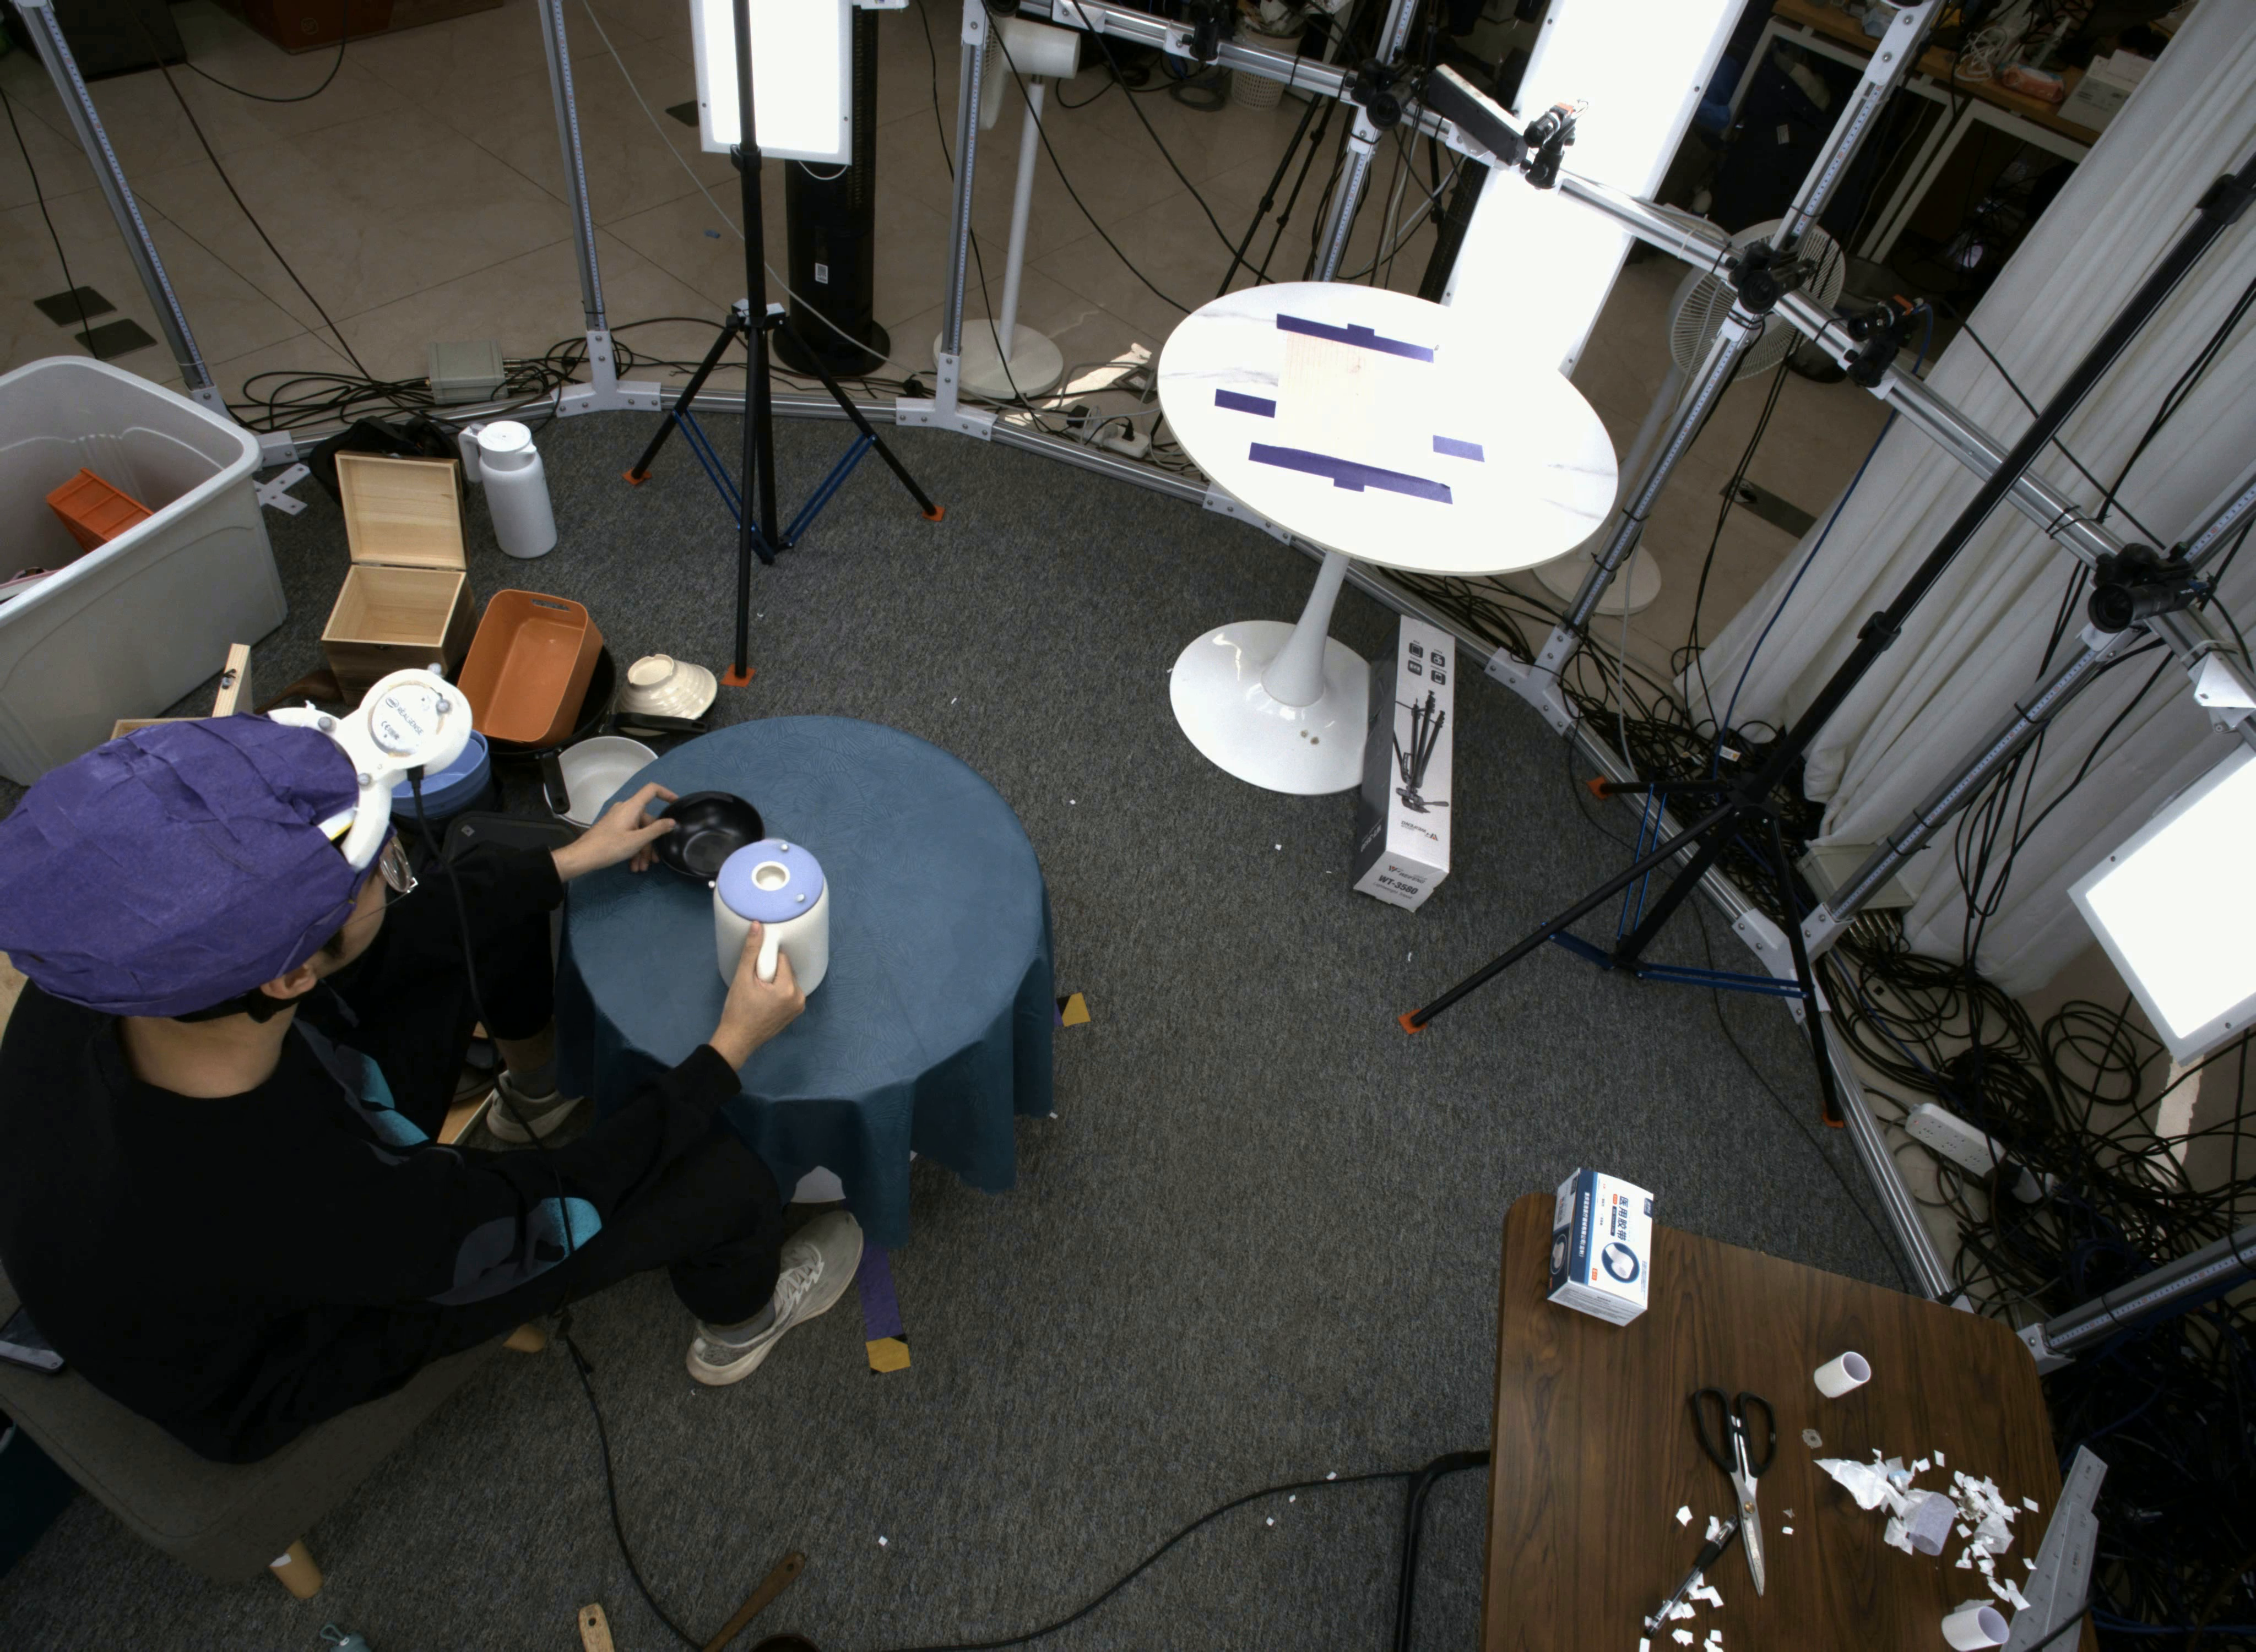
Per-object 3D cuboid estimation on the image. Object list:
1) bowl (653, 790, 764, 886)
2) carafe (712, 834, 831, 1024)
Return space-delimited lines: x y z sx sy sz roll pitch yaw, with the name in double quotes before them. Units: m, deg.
"bowl" -0.535 0.022 1.653 0.140 0.051 0.137 7 55 -8
"carafe" -0.417 0.132 1.519 0.132 0.186 0.187 -1 53 -13
